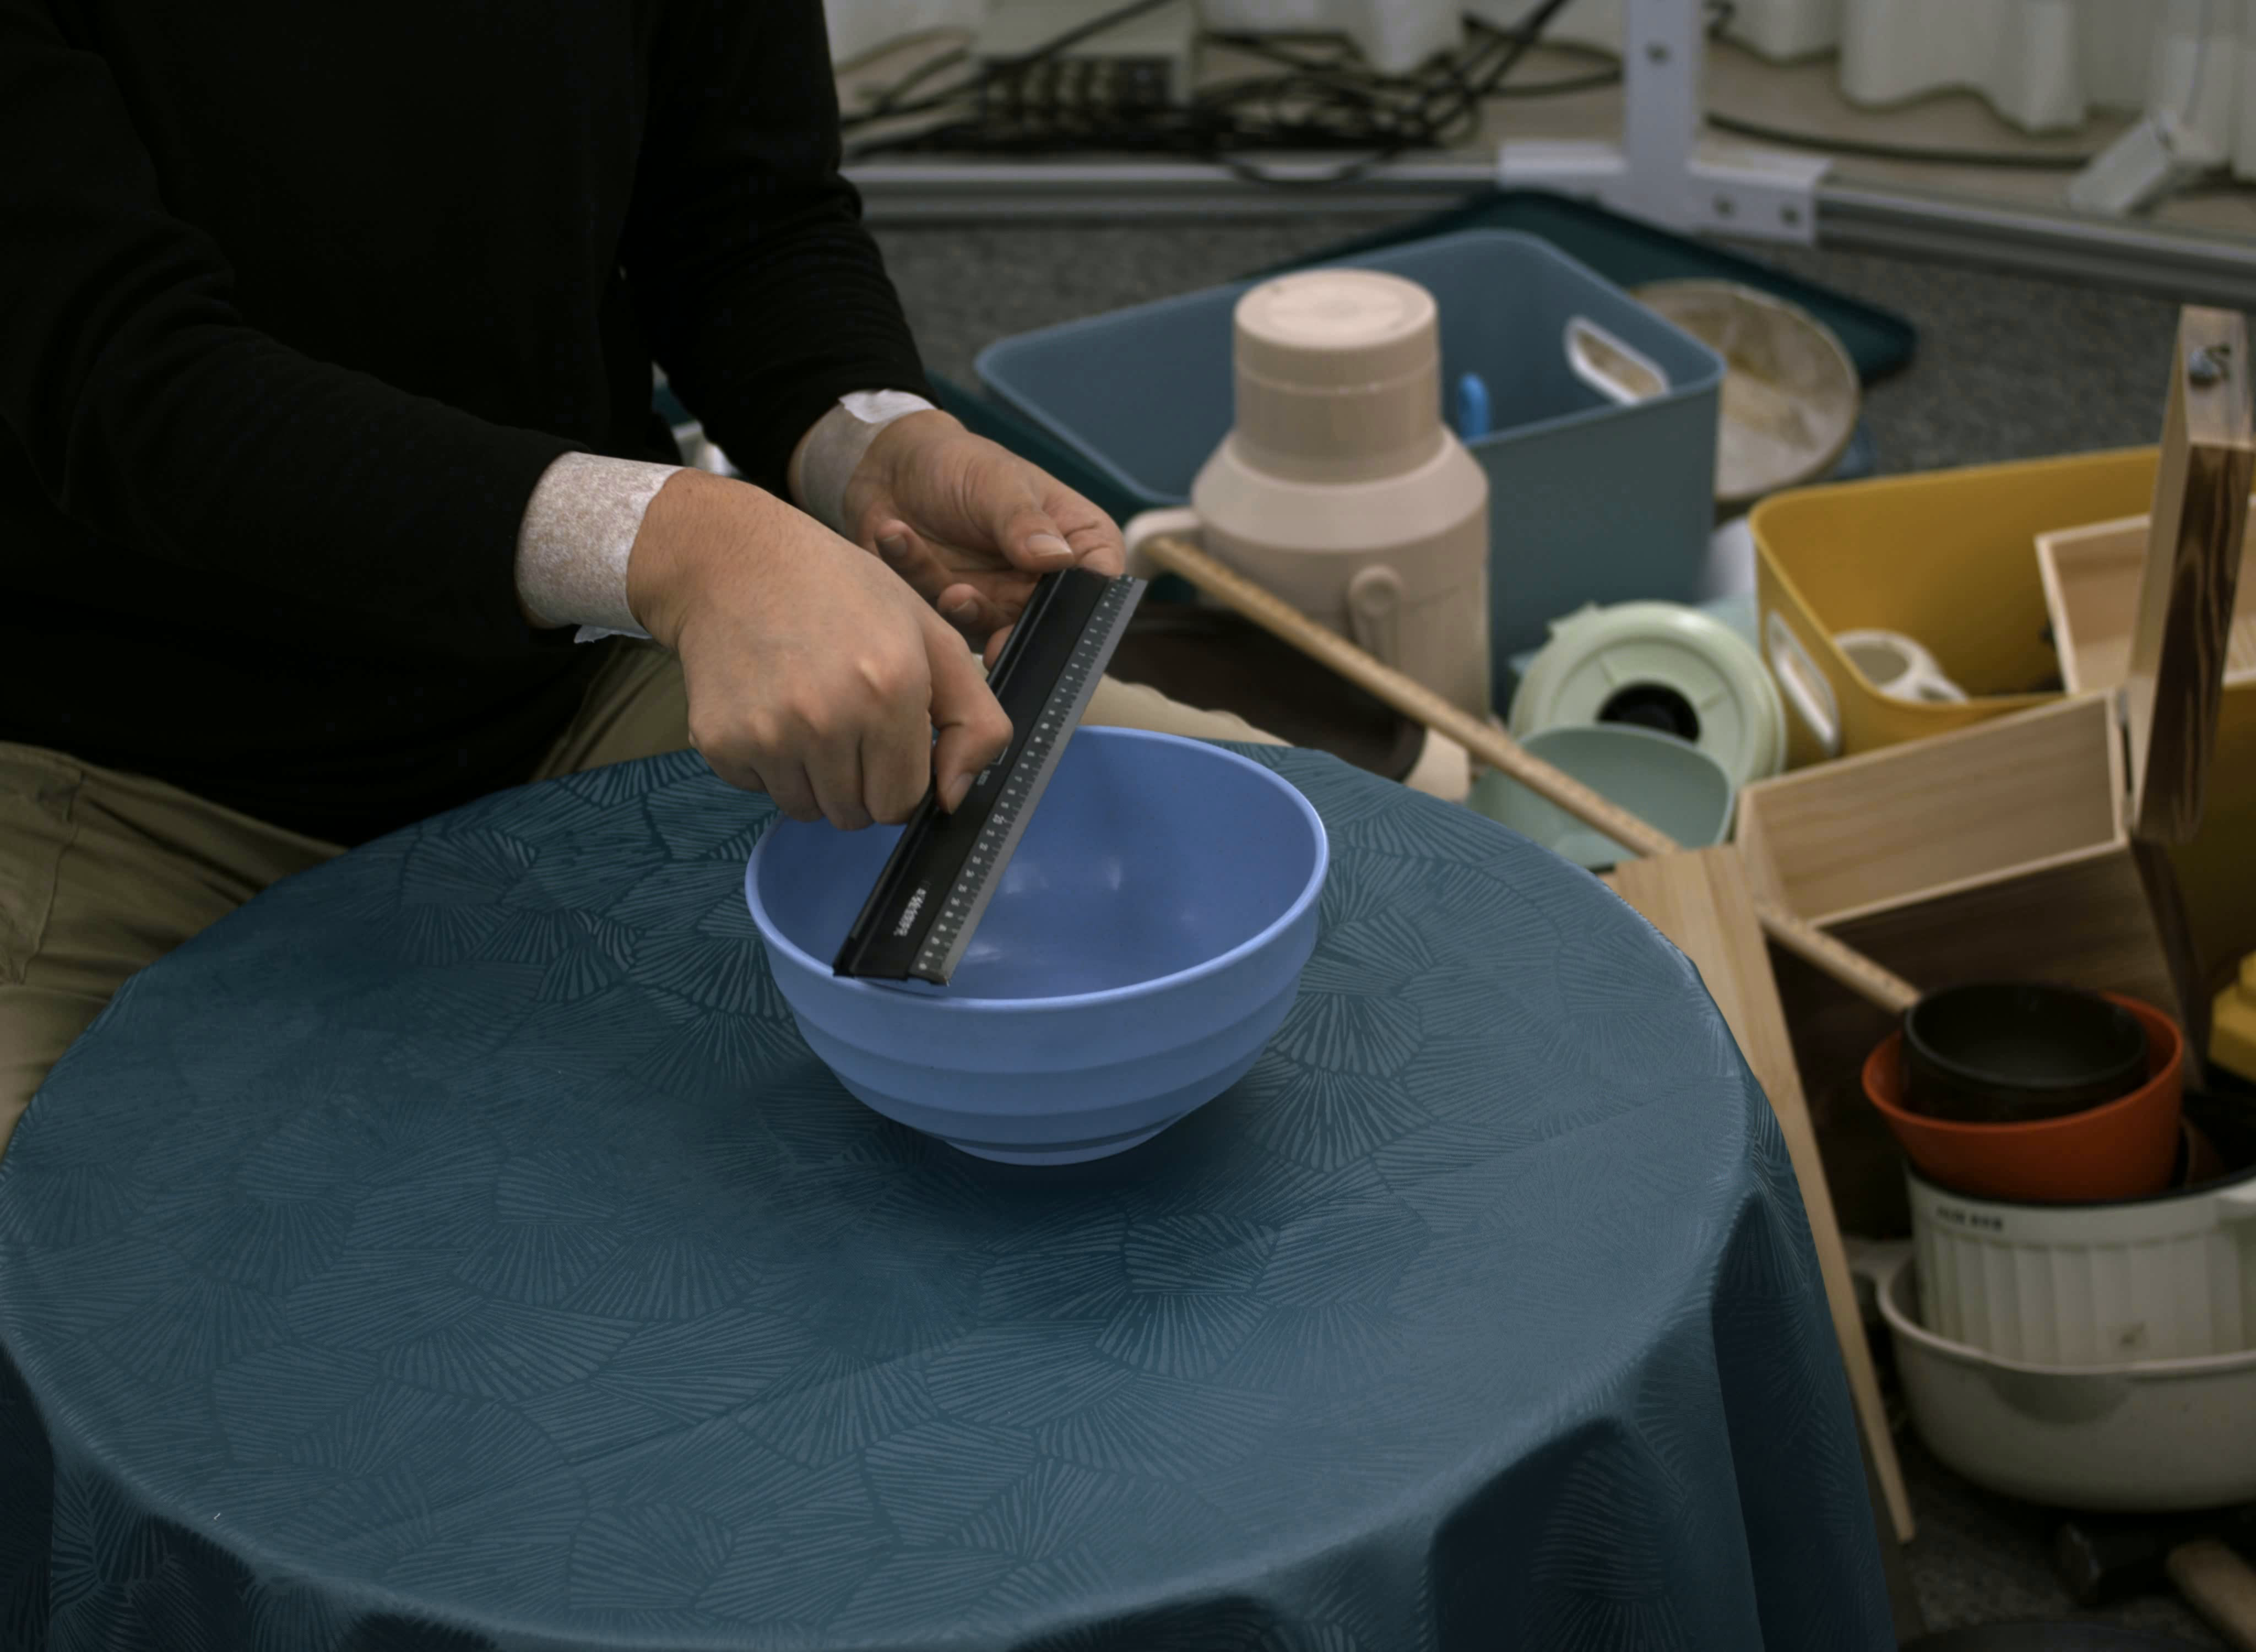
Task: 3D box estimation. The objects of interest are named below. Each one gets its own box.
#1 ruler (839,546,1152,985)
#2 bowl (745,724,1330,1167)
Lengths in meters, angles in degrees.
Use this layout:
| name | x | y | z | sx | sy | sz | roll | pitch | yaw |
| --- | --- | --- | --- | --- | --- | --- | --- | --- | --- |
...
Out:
| name | x | y | z | sx | sy | sz | roll | pitch | yaw |
| --- | --- | --- | --- | --- | --- | --- | --- | --- | --- |
| ruler | -0.042 | -0.026 | 1.920 | 0.039 | 0.017 | 0.318 | 8 | 28 | 10 |
| bowl | -0.029 | 0.051 | 1.897 | 0.195 | 0.094 | 0.199 | -2 | 27 | 1 |
